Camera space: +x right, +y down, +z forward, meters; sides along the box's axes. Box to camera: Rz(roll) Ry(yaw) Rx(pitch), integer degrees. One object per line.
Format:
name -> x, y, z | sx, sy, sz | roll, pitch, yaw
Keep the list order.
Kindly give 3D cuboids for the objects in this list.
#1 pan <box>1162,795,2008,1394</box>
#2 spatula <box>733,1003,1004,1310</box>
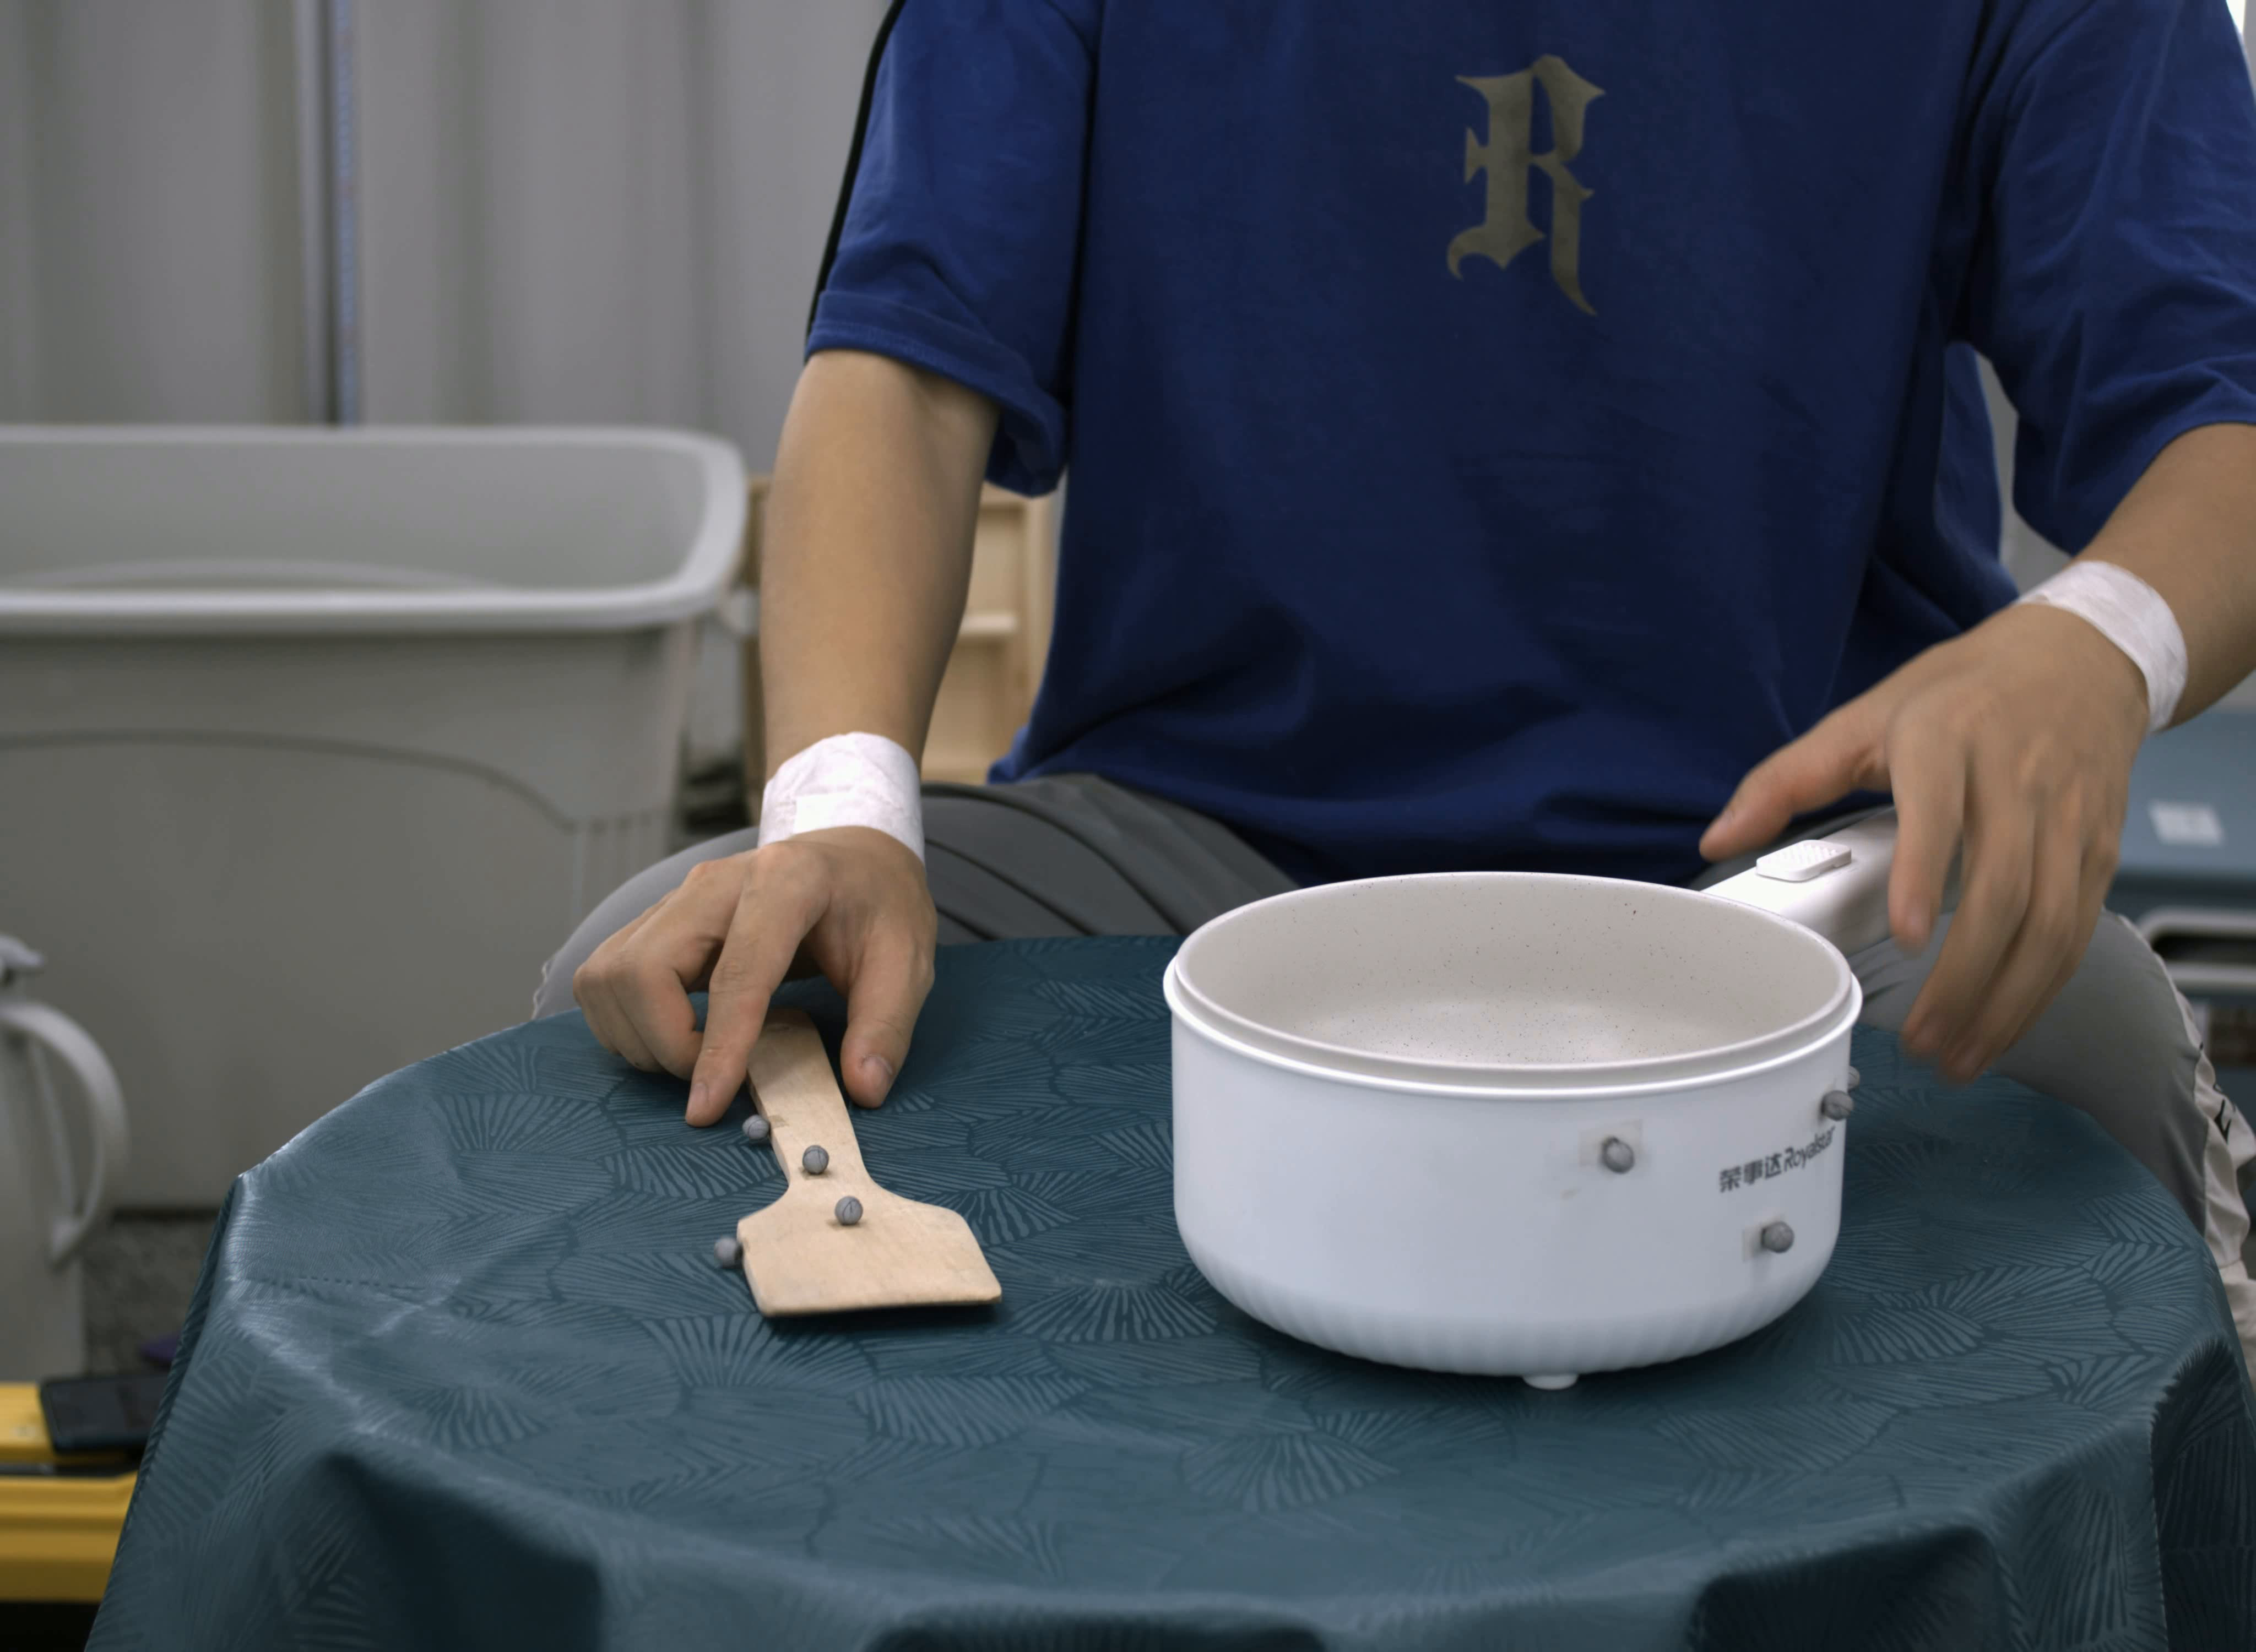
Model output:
pan -> 0.158, 0.074, 1.585 | 0.198, 0.103, 0.356 | 10, 18, 37
spatula -> -0.096, 0.101, 1.641 | 0.072, 0.011, 0.290 | -1, 15, -11
